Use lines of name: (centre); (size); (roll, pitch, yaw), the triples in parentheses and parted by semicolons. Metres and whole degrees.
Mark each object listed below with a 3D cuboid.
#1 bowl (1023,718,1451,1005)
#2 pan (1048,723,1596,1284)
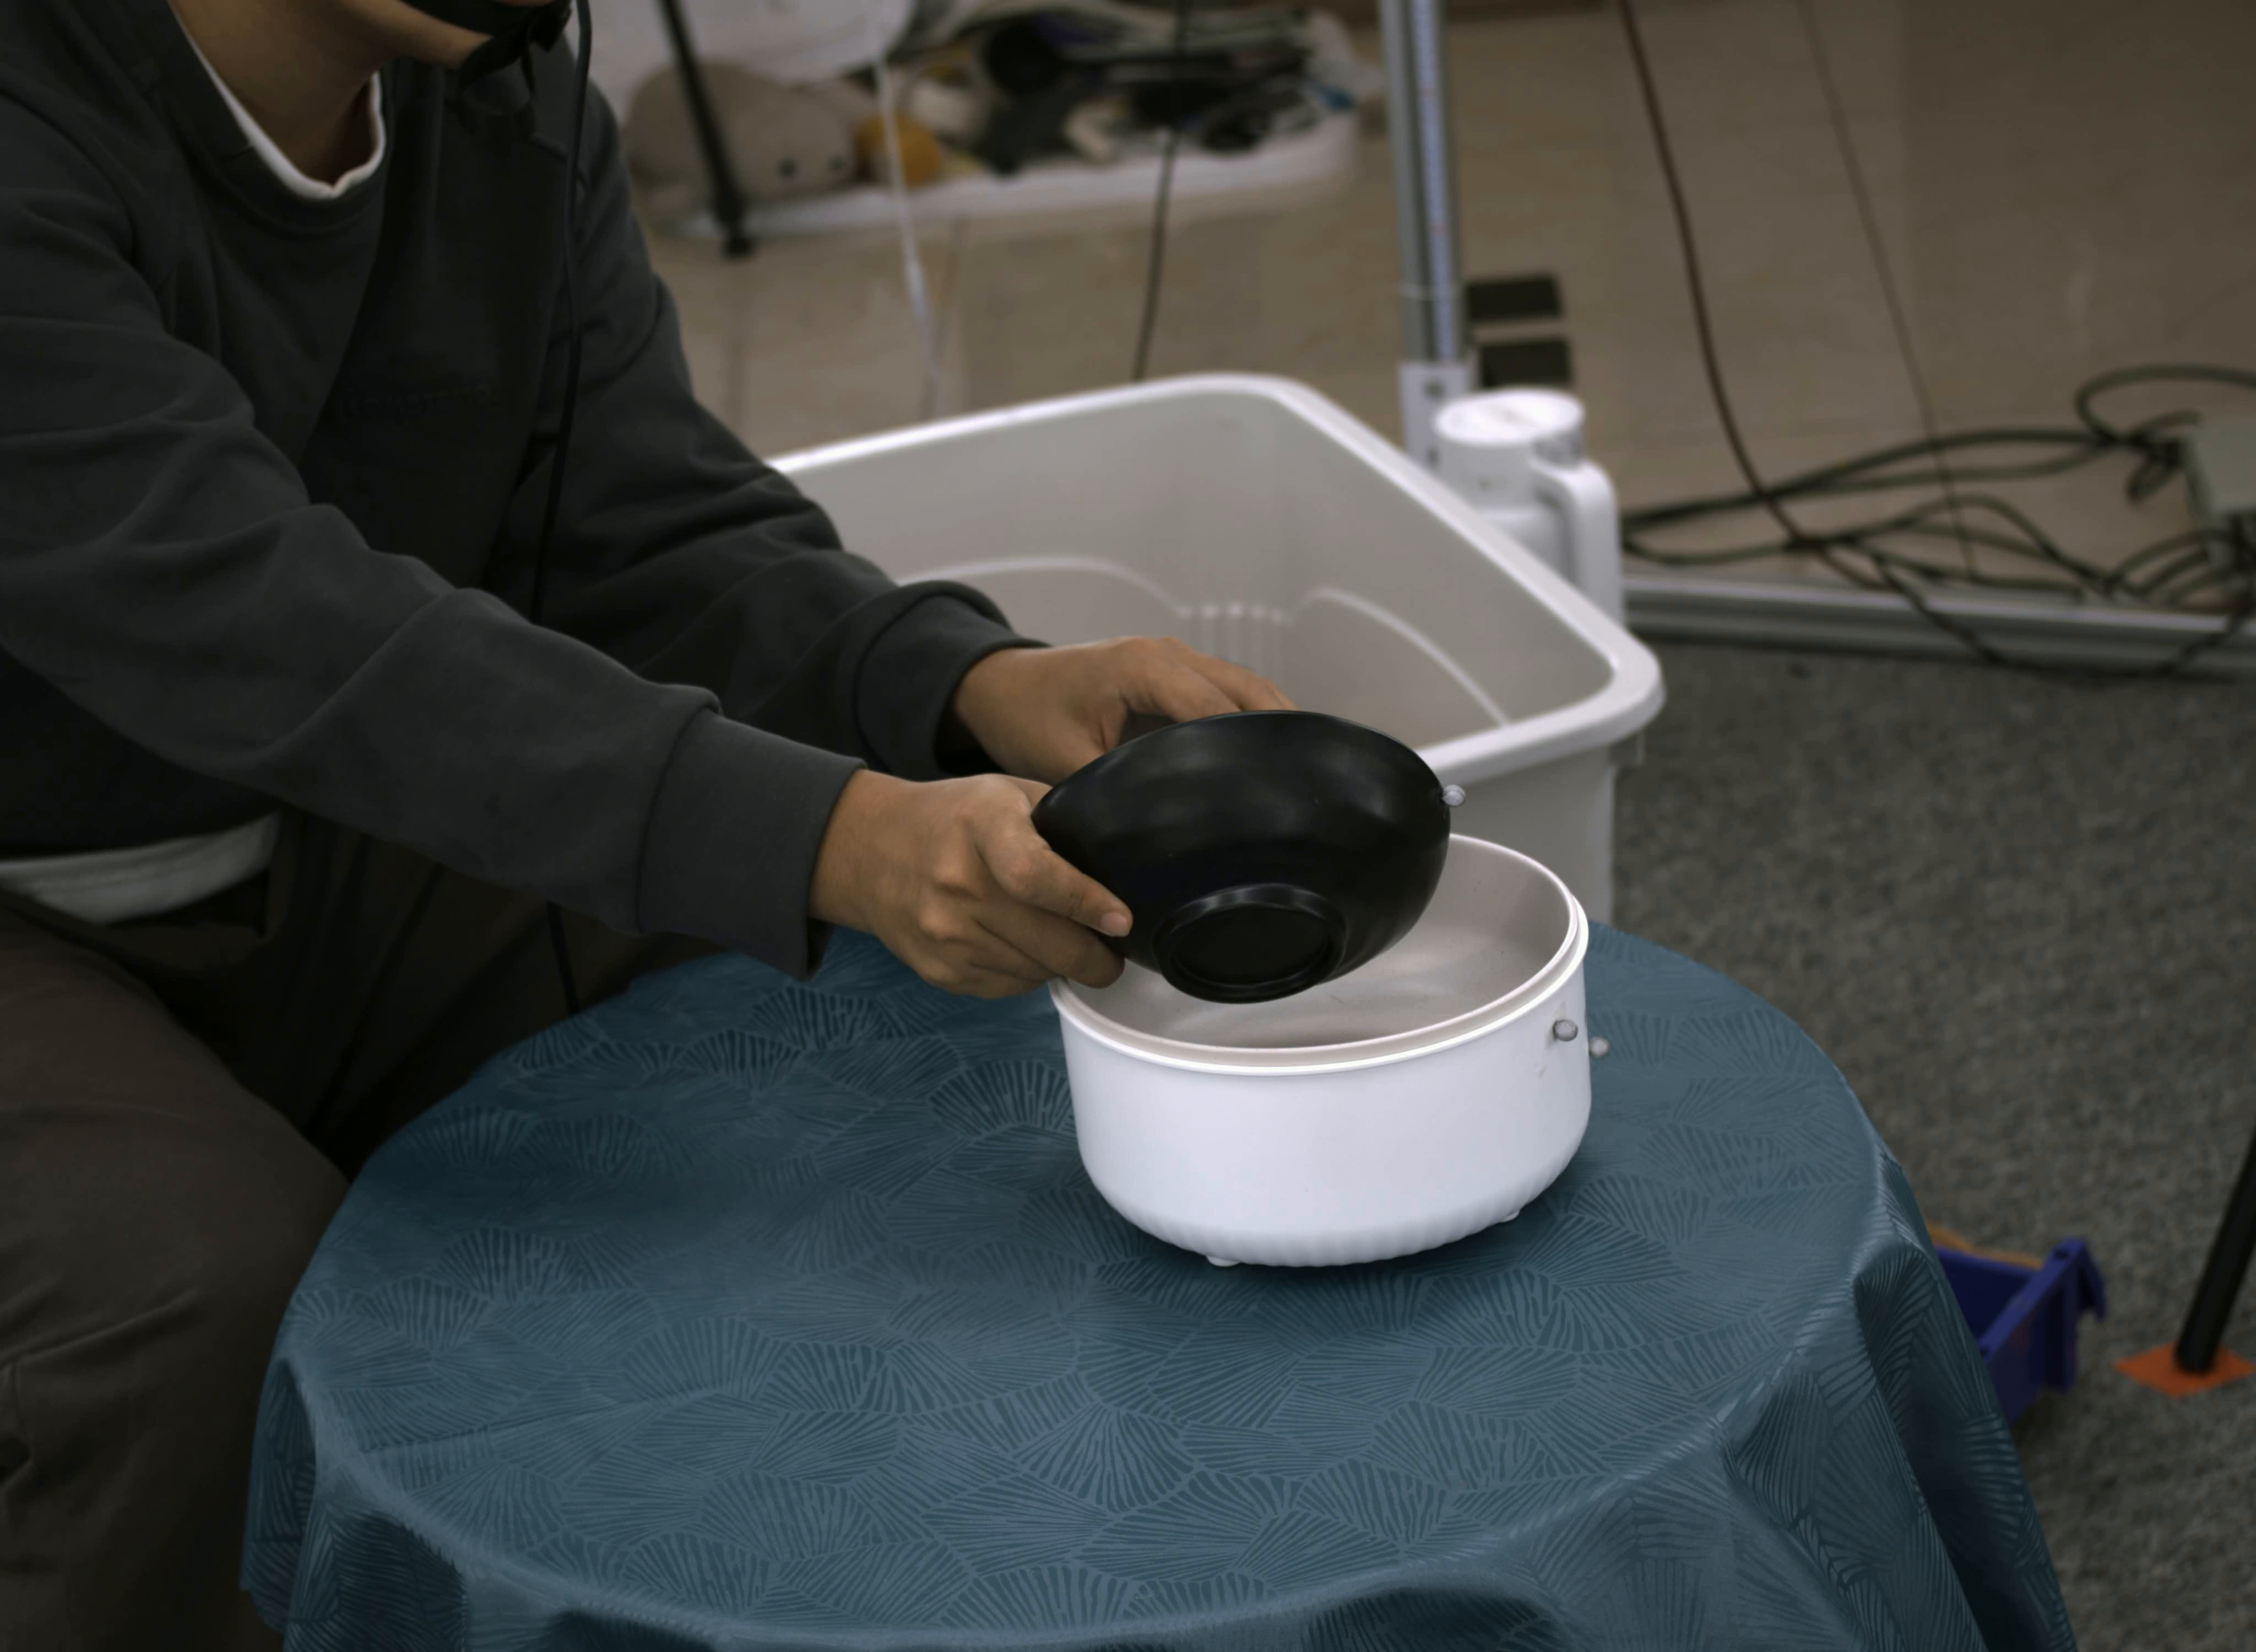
bowl: (0.044, 0.021, 2.076); (0.171, 0.139, 0.065); (16, 51, -34)
pan: (0.065, 0.065, 2.193); (0.201, 0.103, 0.350); (-12, 22, -4)
